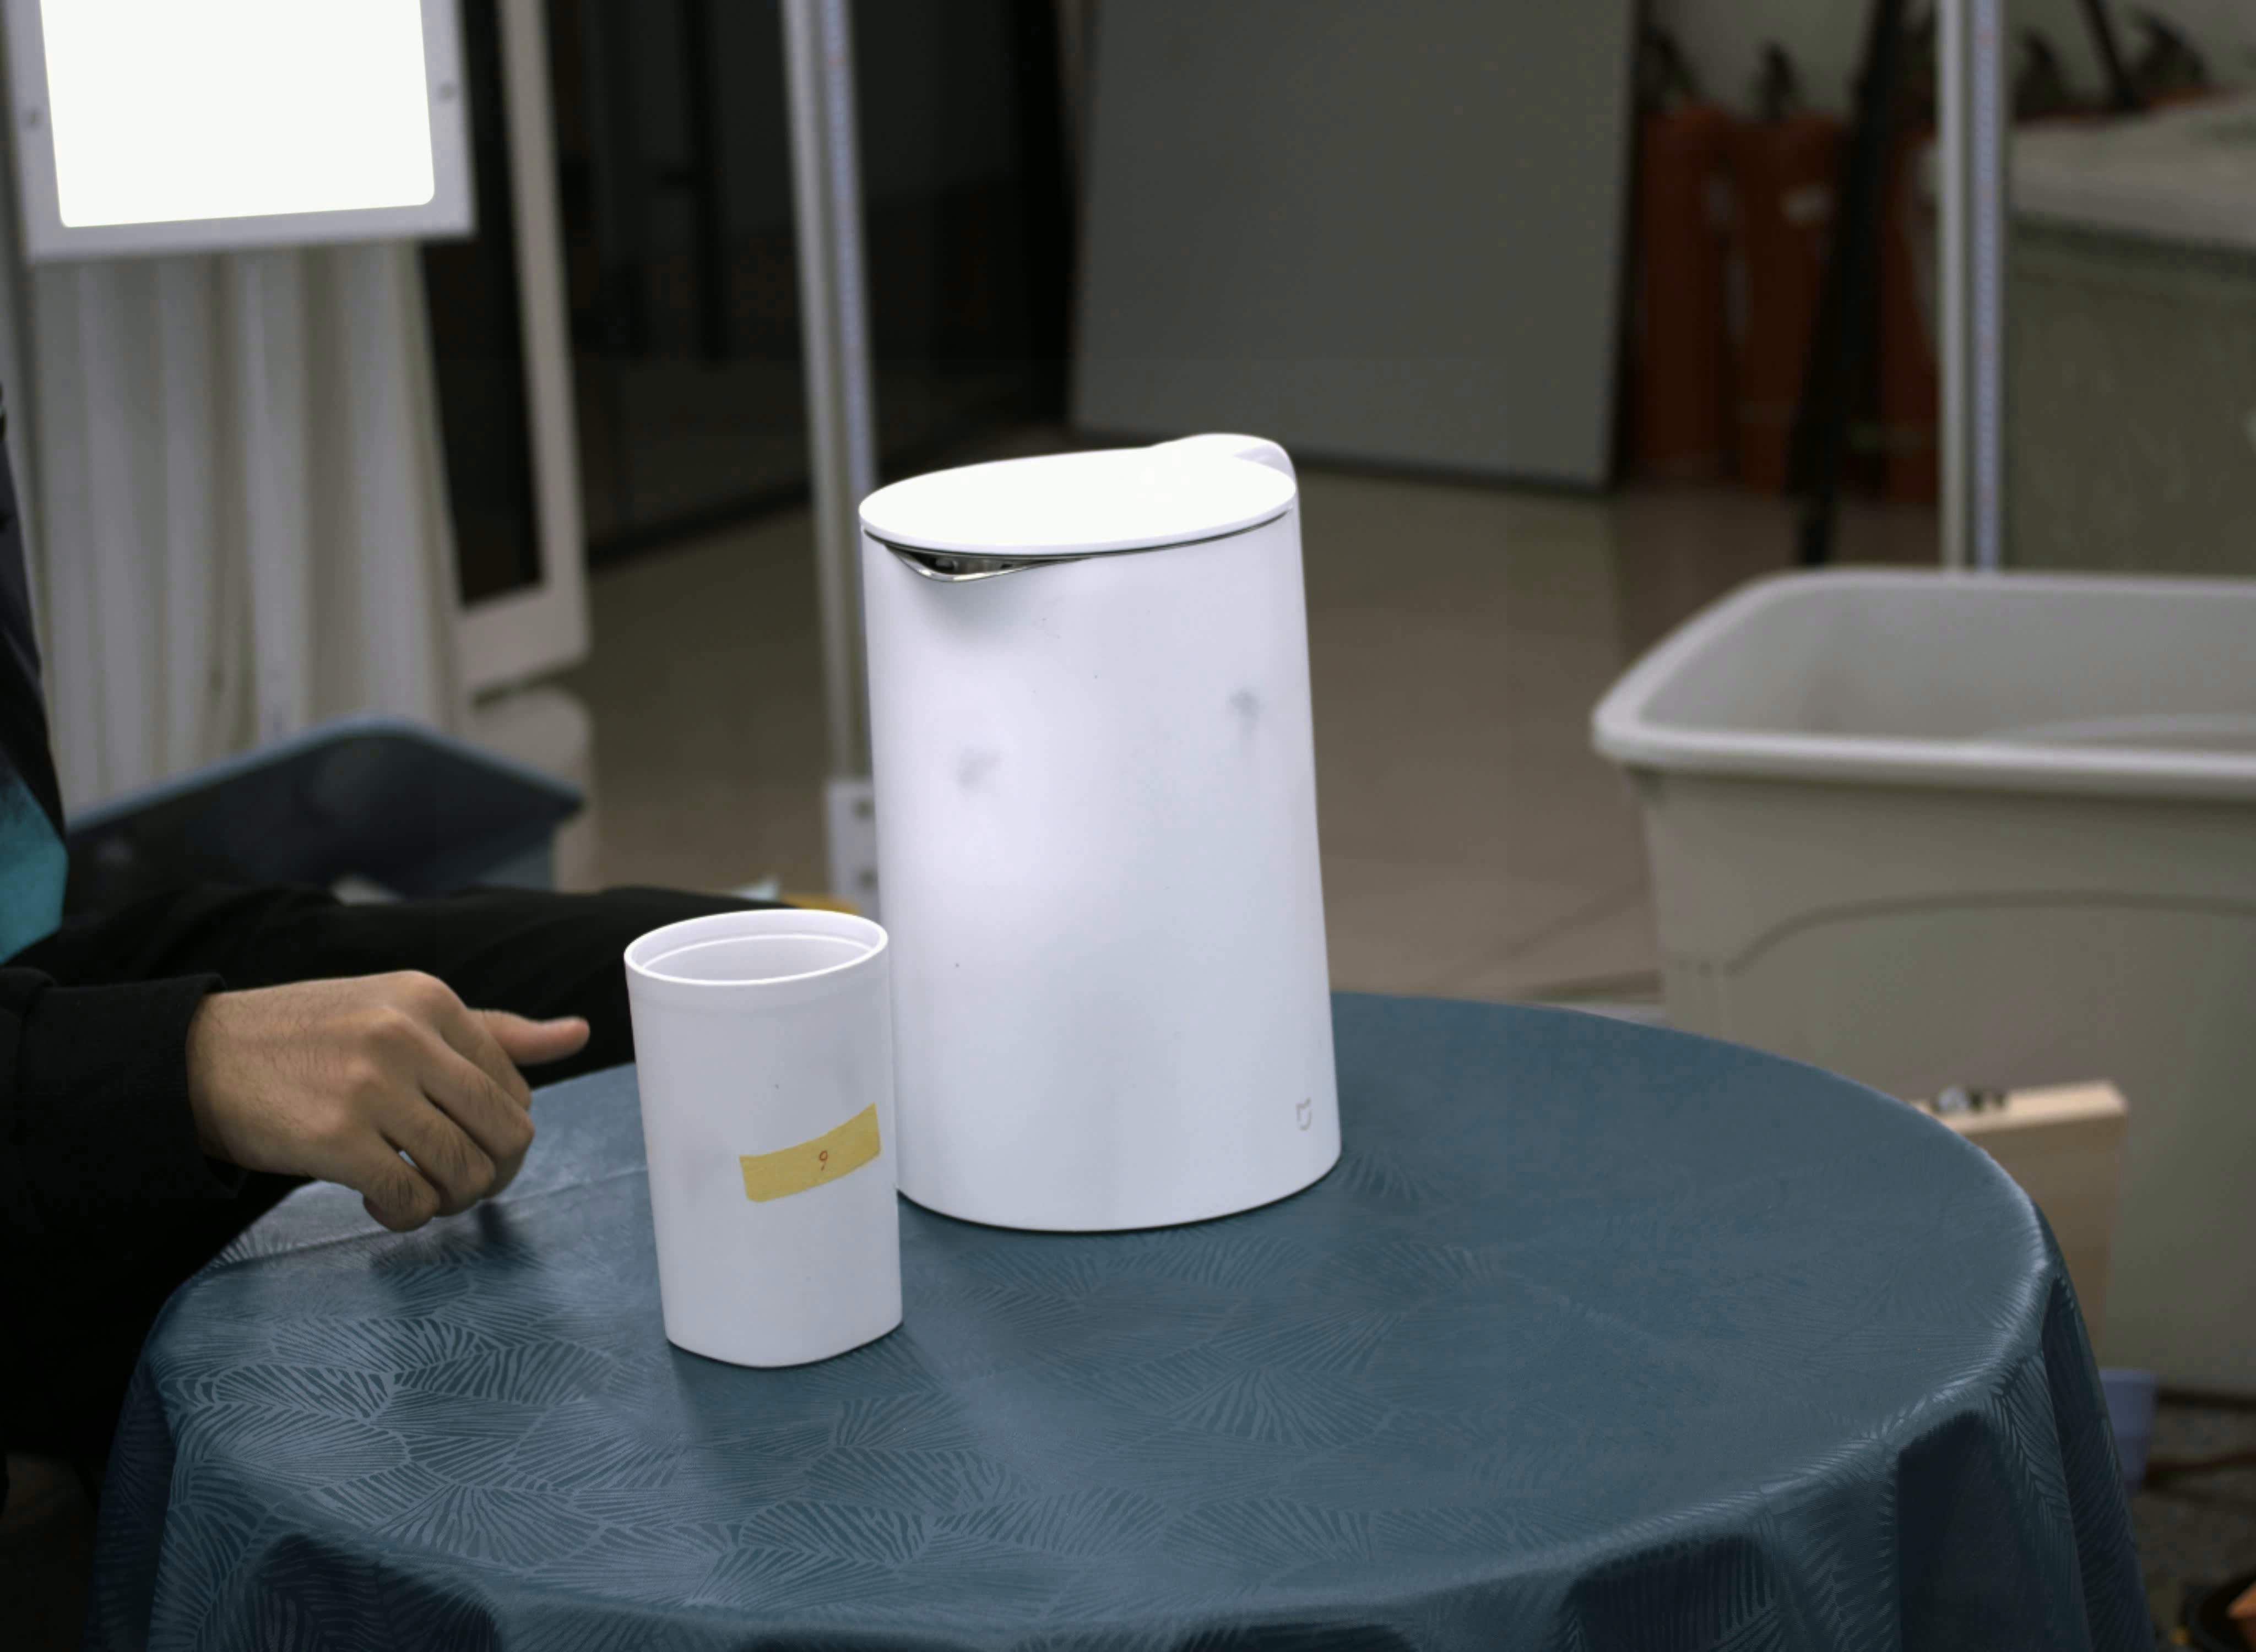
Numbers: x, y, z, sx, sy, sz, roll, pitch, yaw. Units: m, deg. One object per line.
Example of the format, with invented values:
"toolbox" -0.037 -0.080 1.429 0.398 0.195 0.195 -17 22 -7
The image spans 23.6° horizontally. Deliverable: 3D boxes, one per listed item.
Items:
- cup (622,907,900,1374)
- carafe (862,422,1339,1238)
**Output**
"cup" -0.109 0.096 1.645 0.080 0.127 0.082 -4 13 0
"carafe" 0.004 -0.005 1.794 0.153 0.243 0.210 6 17 30
